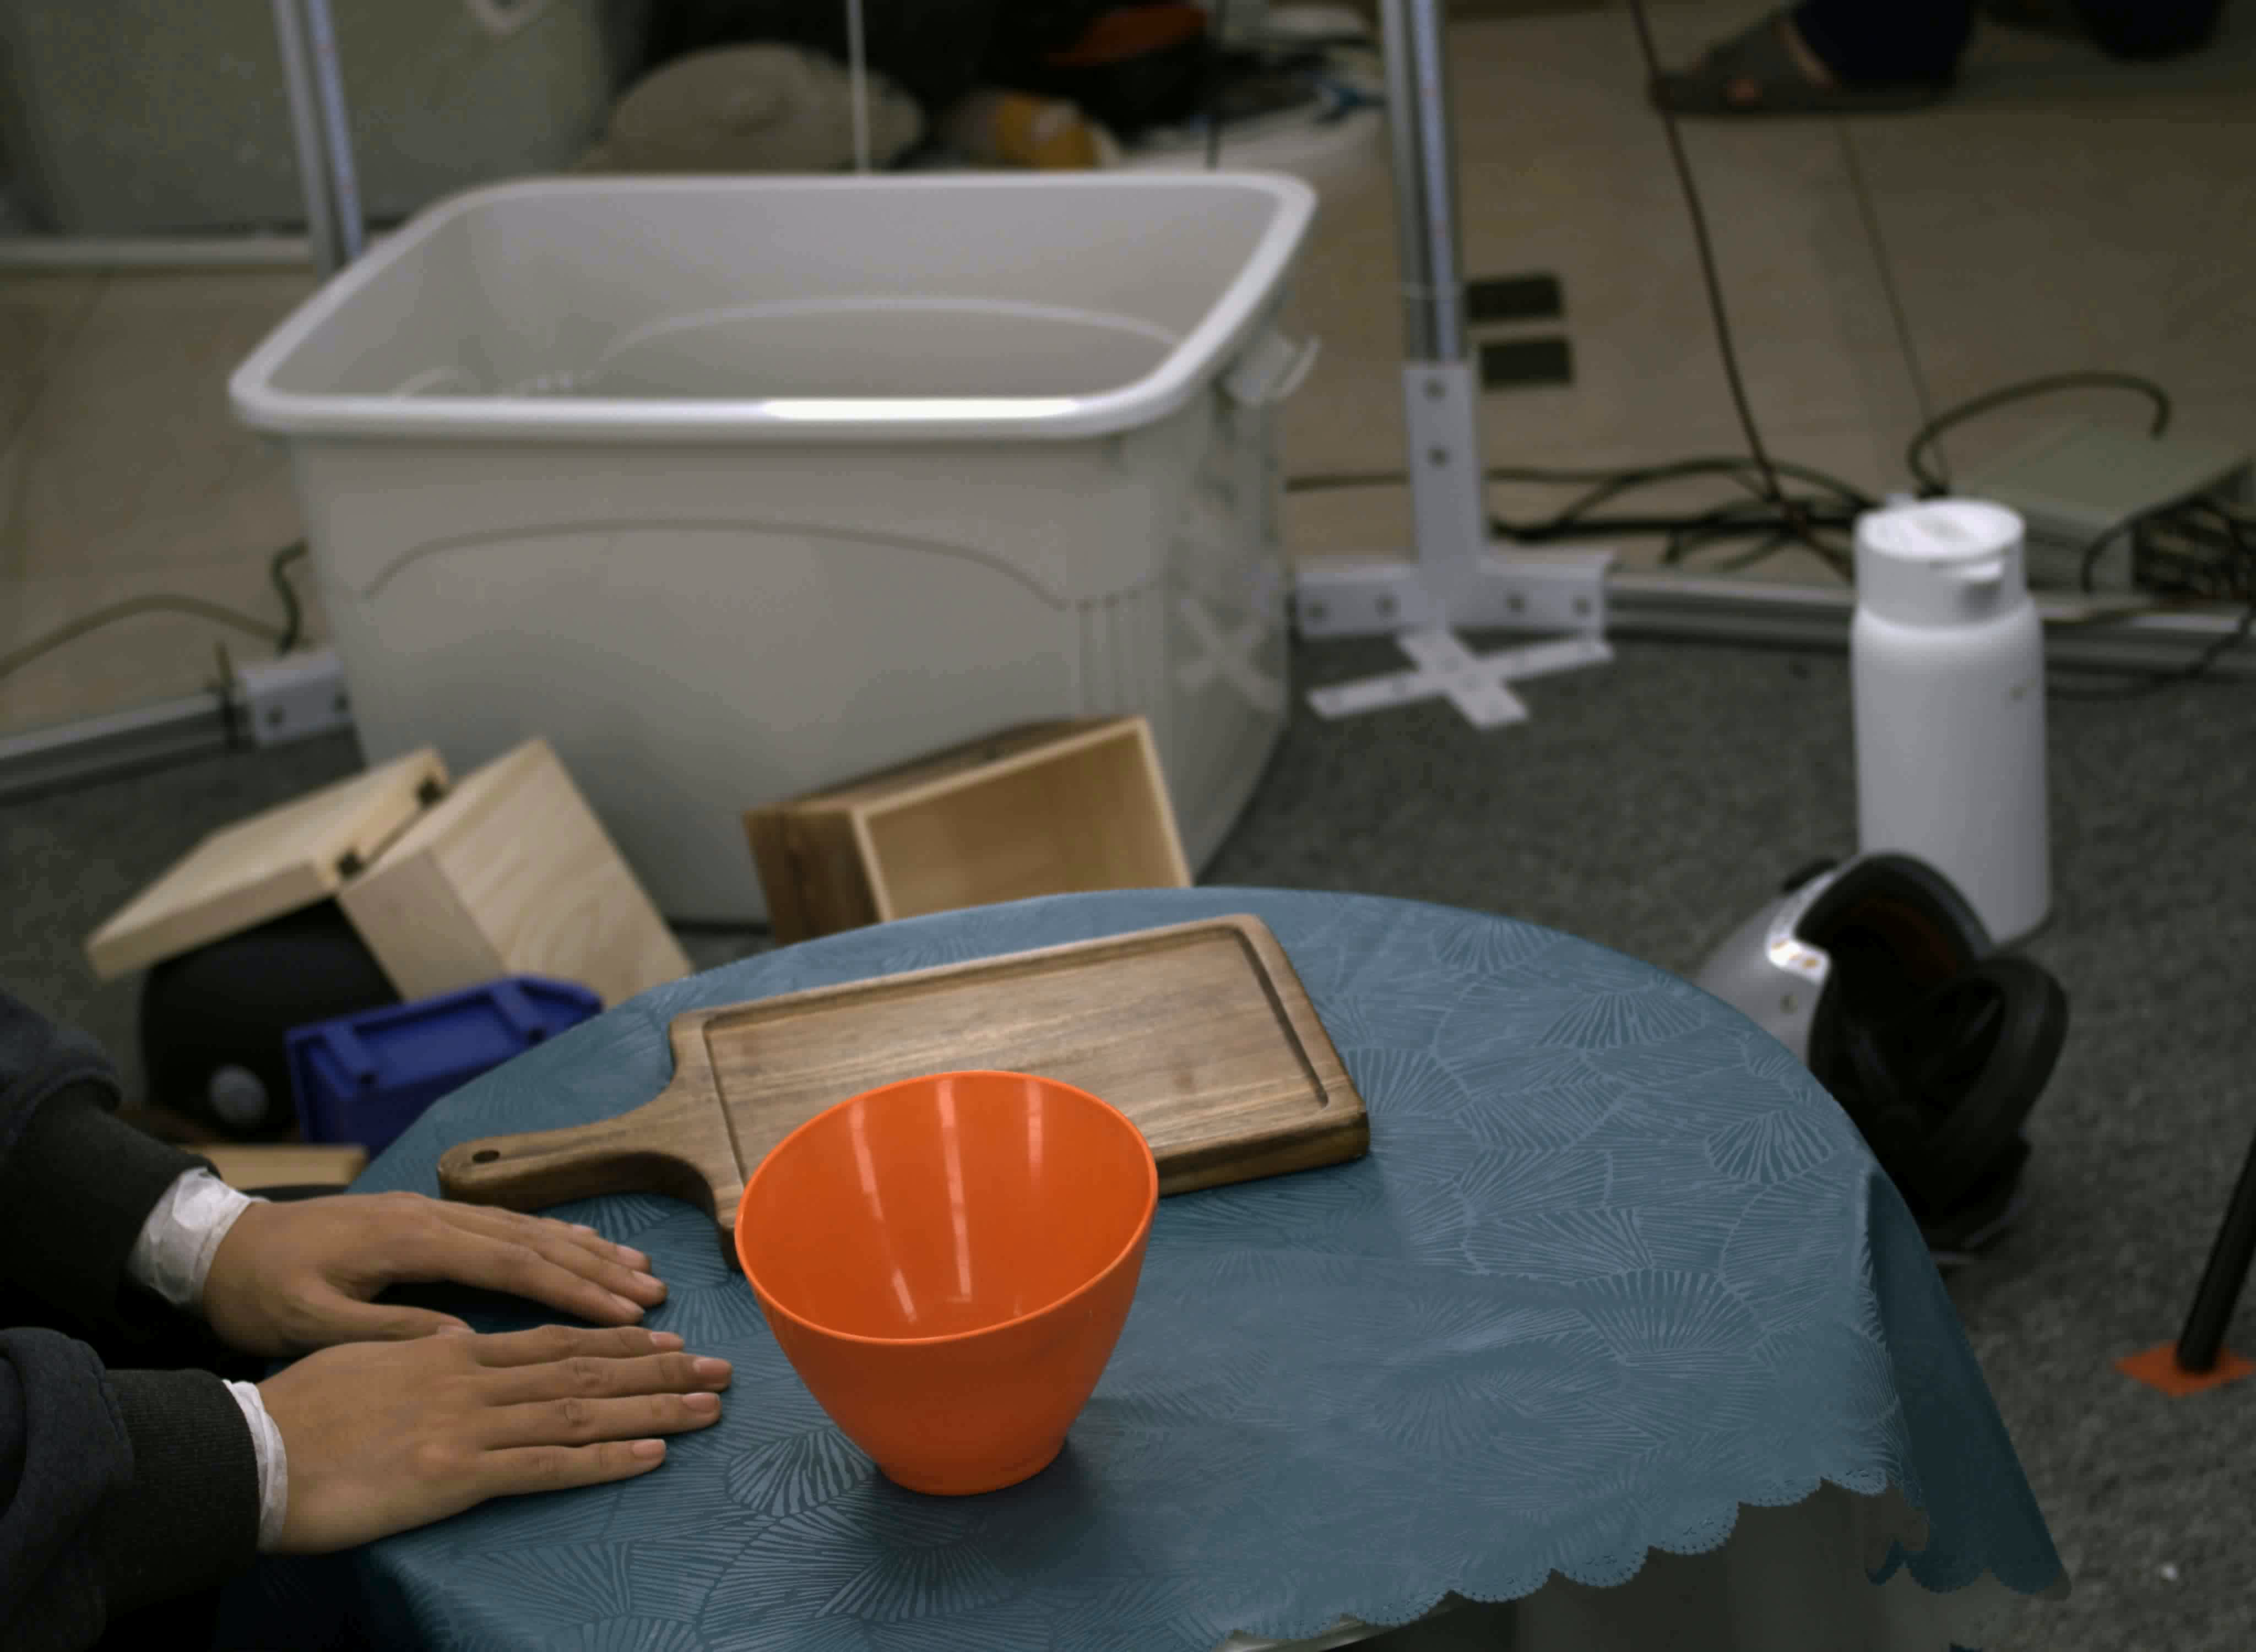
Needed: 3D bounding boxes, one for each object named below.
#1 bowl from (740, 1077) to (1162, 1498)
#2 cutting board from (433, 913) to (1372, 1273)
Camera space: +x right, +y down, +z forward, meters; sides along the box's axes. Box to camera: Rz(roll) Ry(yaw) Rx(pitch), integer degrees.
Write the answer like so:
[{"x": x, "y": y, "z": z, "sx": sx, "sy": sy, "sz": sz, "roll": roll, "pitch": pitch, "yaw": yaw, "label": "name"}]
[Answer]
[{"x": -0.058, "y": 0.167, "z": 1.979, "sx": 0.148, "sy": 0.106, "sz": 0.146, "roll": -5, "pitch": 25, "yaw": 2, "label": "bowl"}, {"x": -0.096, "y": 0.109, "z": 2.211, "sx": 0.351, "sy": 0.023, "sz": 0.198, "roll": -10, "pitch": 25, "yaw": -7, "label": "cutting board"}]
